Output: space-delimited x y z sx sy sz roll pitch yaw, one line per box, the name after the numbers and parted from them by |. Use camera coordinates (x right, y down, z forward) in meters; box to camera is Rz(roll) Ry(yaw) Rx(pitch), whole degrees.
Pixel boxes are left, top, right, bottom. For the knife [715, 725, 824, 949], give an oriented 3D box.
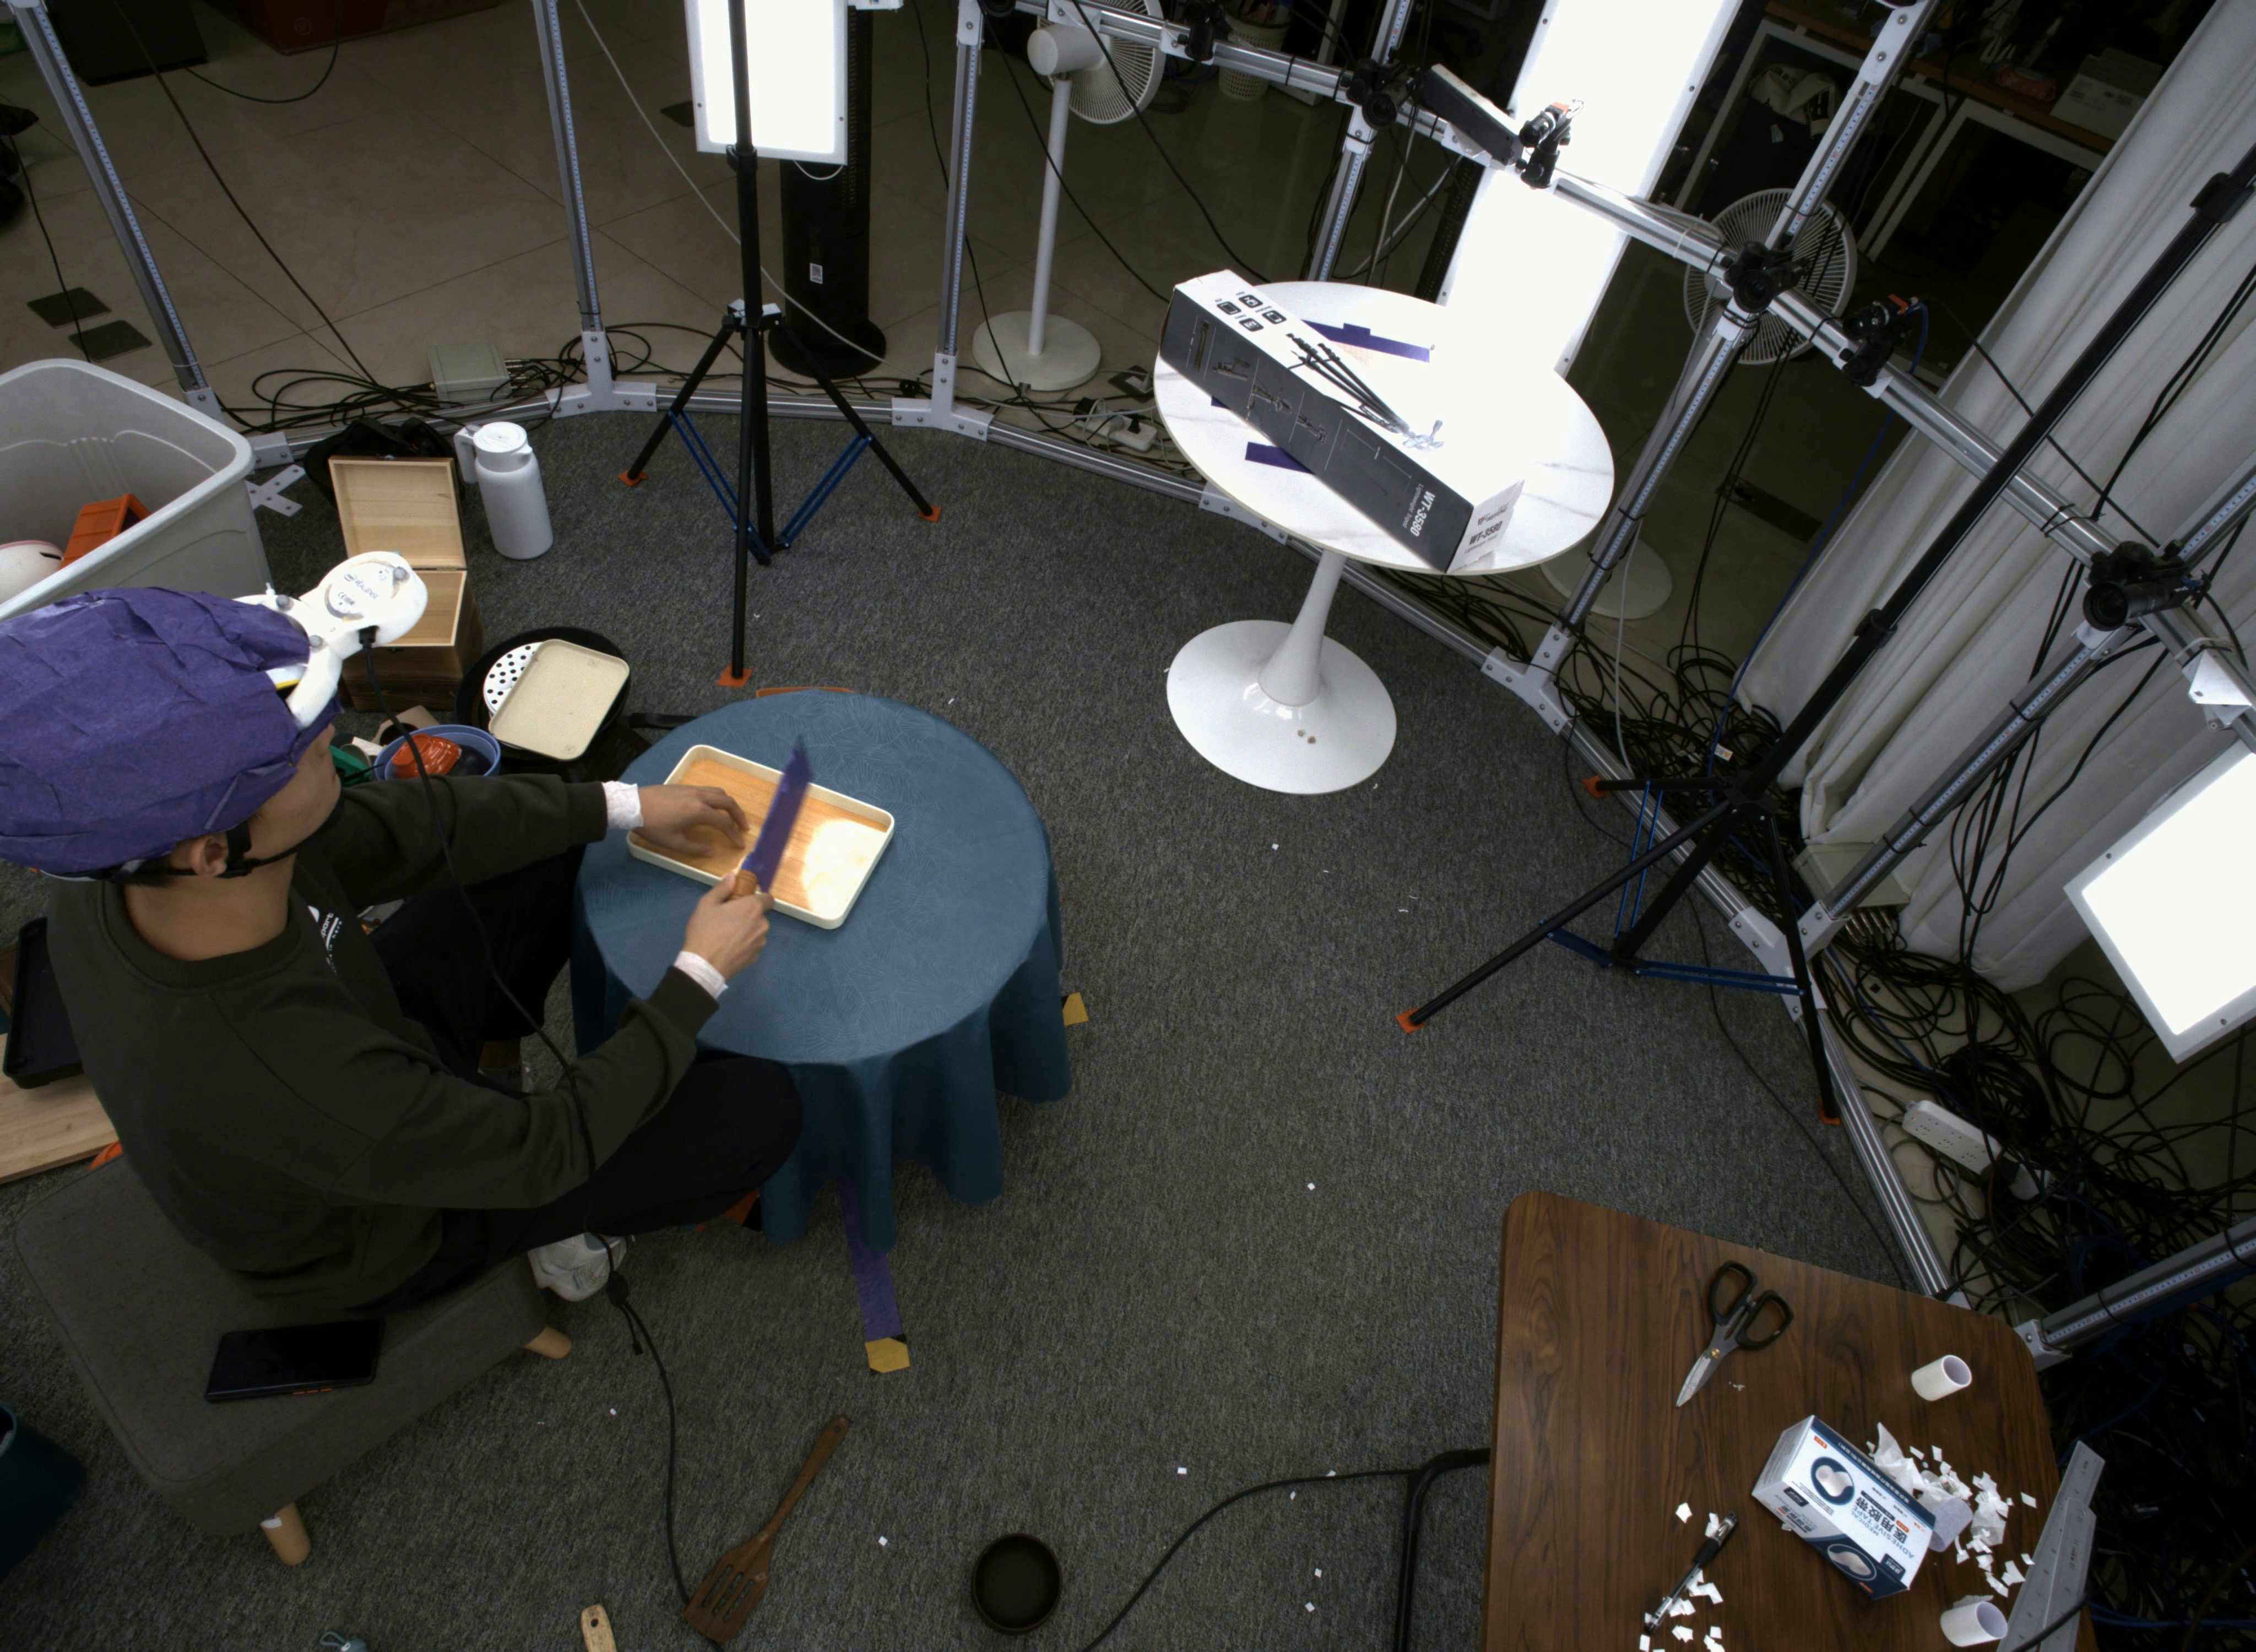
-0.426 0.026 1.577 0.031 0.107 0.311 8 55 8 | knife

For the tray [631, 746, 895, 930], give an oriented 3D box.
-0.476 0.011 1.695 0.297 0.028 0.189 20 51 1 | tray
